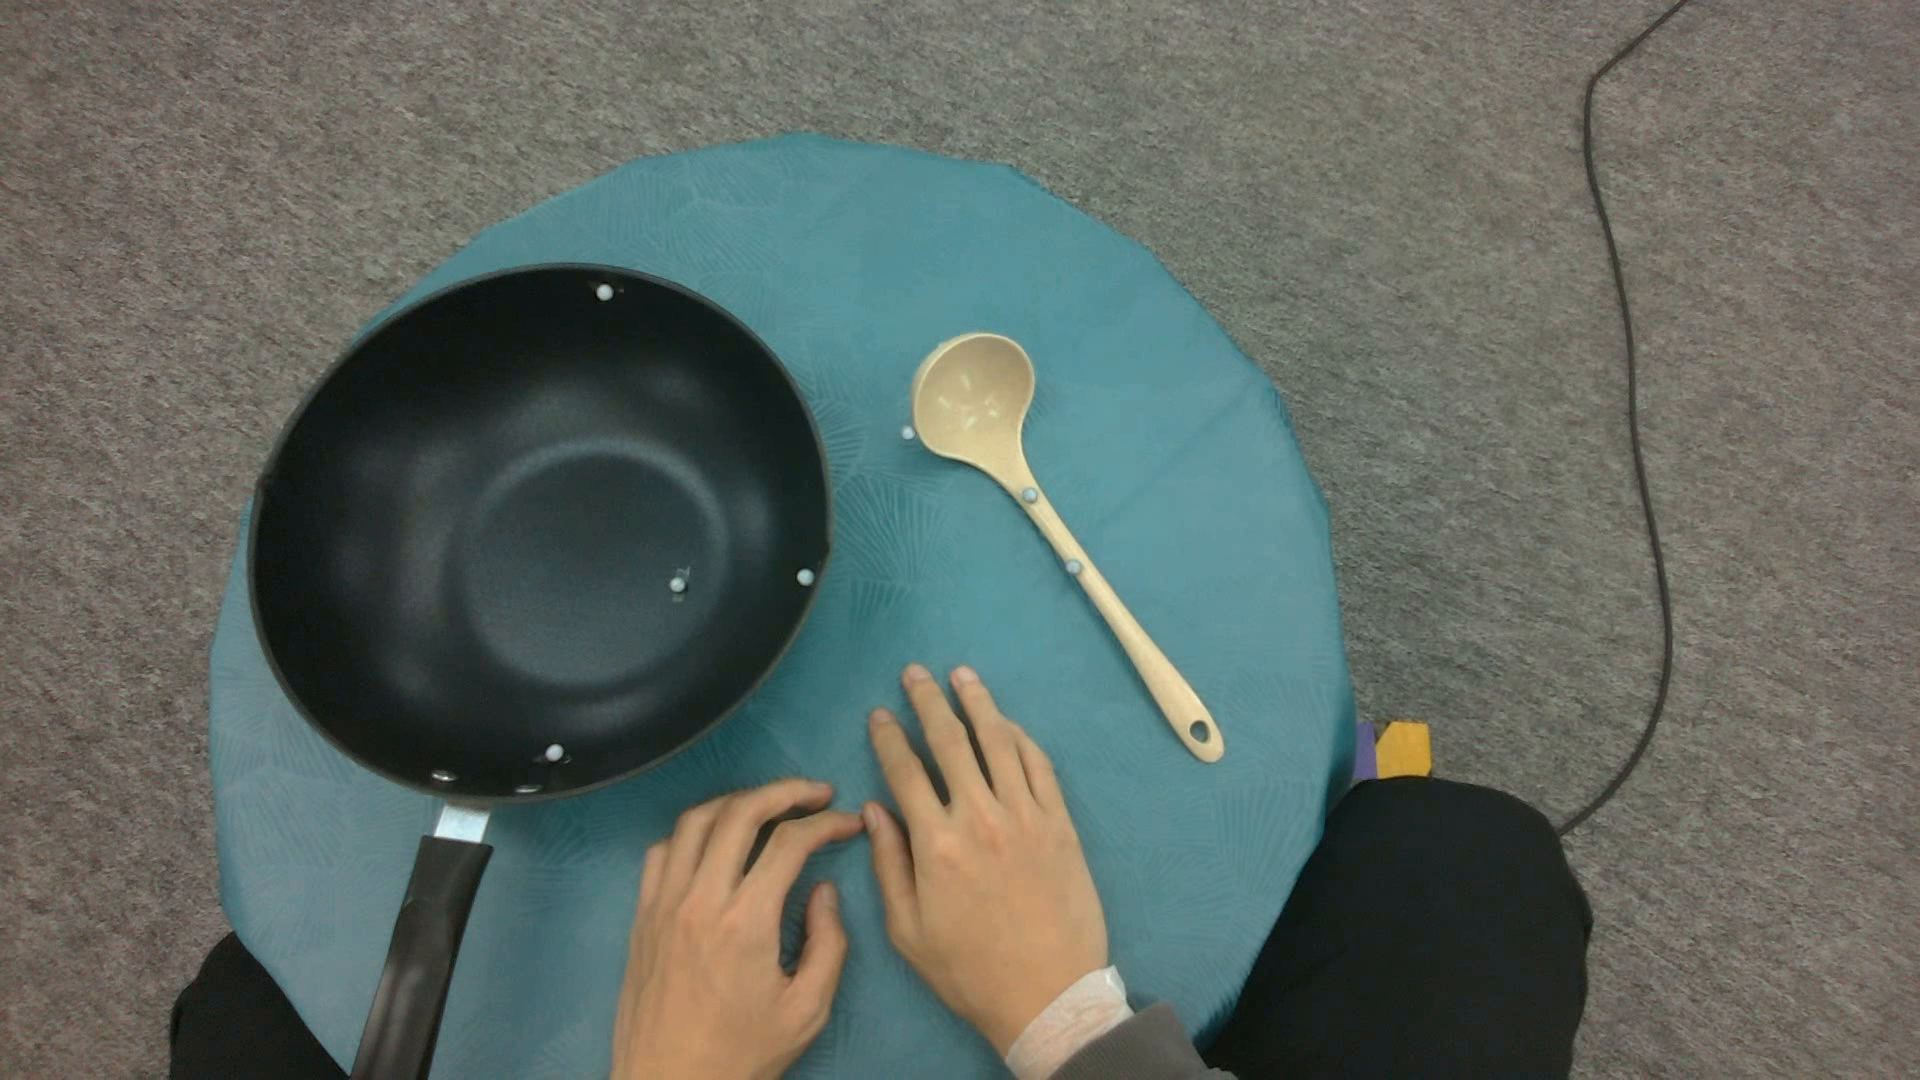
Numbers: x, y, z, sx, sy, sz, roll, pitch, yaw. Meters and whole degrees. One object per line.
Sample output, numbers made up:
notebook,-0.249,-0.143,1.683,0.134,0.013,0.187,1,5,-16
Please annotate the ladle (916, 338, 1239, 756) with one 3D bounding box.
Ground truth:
ladle,0.067,0.000,0.714,0.072,0.072,0.255,-33,71,-14

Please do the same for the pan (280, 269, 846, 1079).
pan,-0.211,0.087,0.690,0.288,0.086,0.464,8,72,5
